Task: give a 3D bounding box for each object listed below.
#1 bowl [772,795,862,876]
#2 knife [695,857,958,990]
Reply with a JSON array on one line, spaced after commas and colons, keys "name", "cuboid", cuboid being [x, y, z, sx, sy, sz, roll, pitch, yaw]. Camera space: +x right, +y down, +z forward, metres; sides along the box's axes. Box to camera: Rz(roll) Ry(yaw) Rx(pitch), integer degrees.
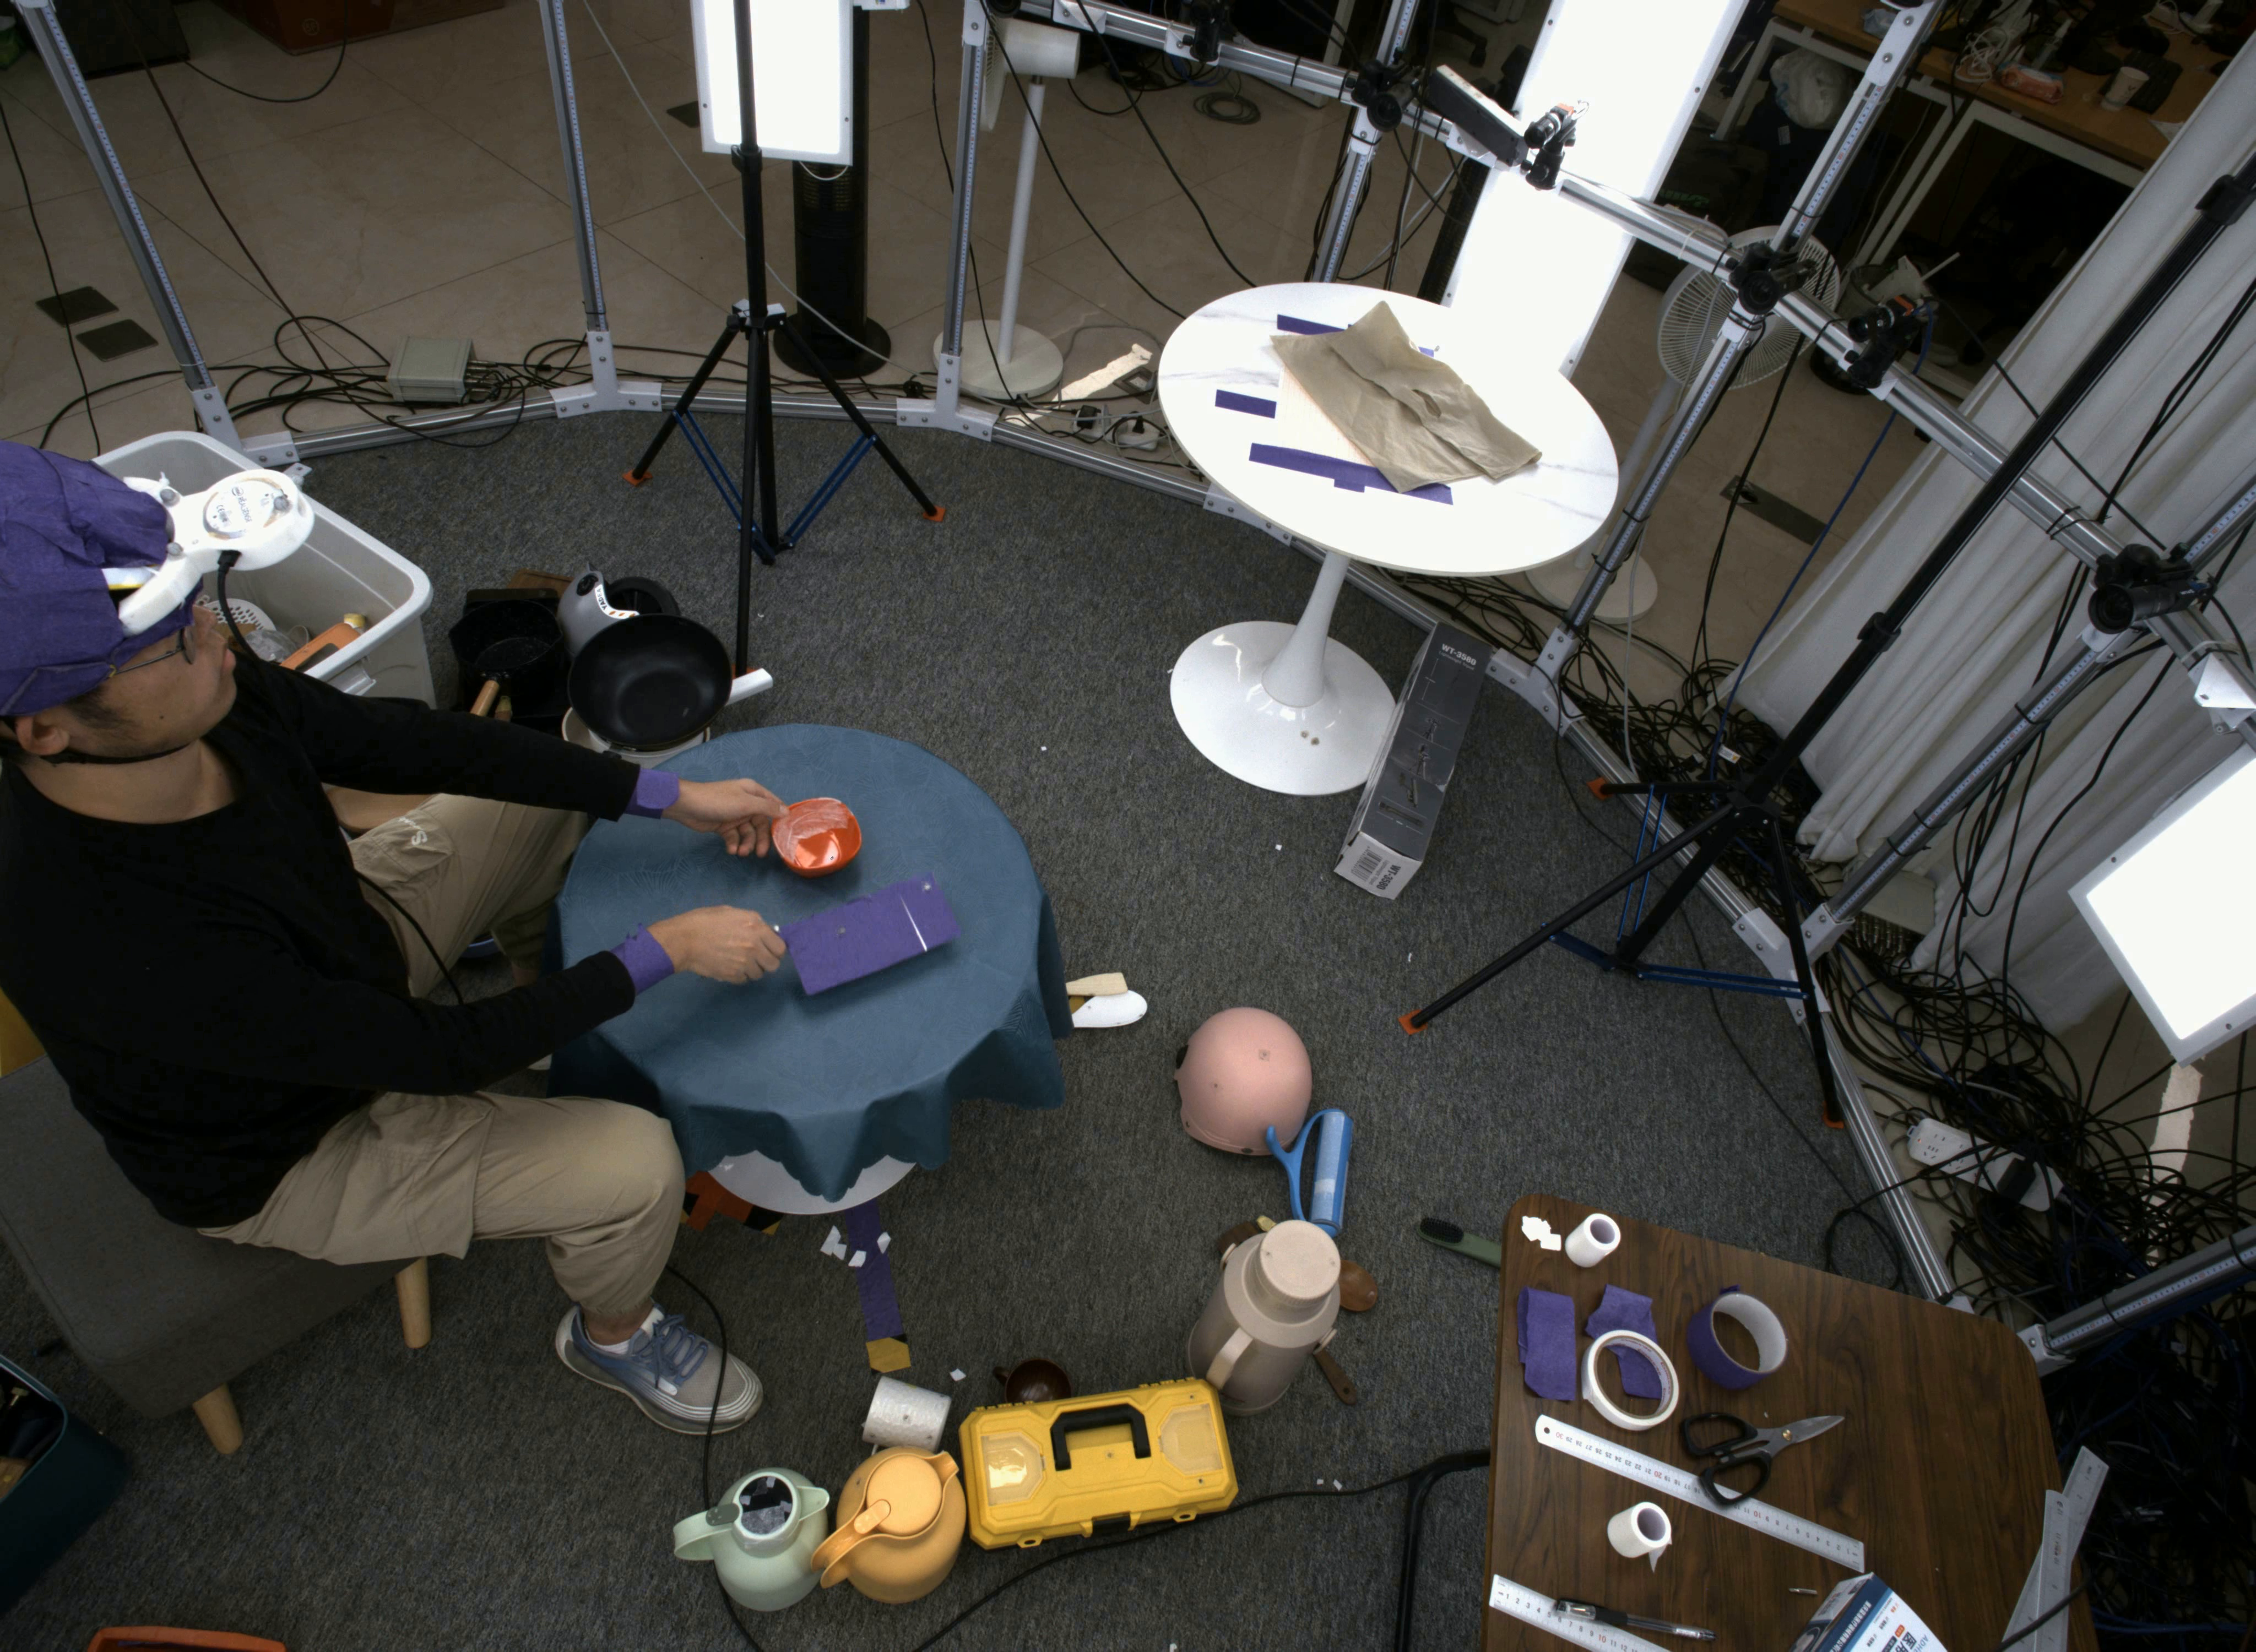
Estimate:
[{"name": "bowl", "cuboid": [-0.403, 0.019, 1.676, 0.119, 0.052, 0.117, 10, 51, -11]}, {"name": "knife", "cuboid": [-0.355, 0.136, 1.564, 0.316, 0.032, 0.104, -24, 83, -26]}]
